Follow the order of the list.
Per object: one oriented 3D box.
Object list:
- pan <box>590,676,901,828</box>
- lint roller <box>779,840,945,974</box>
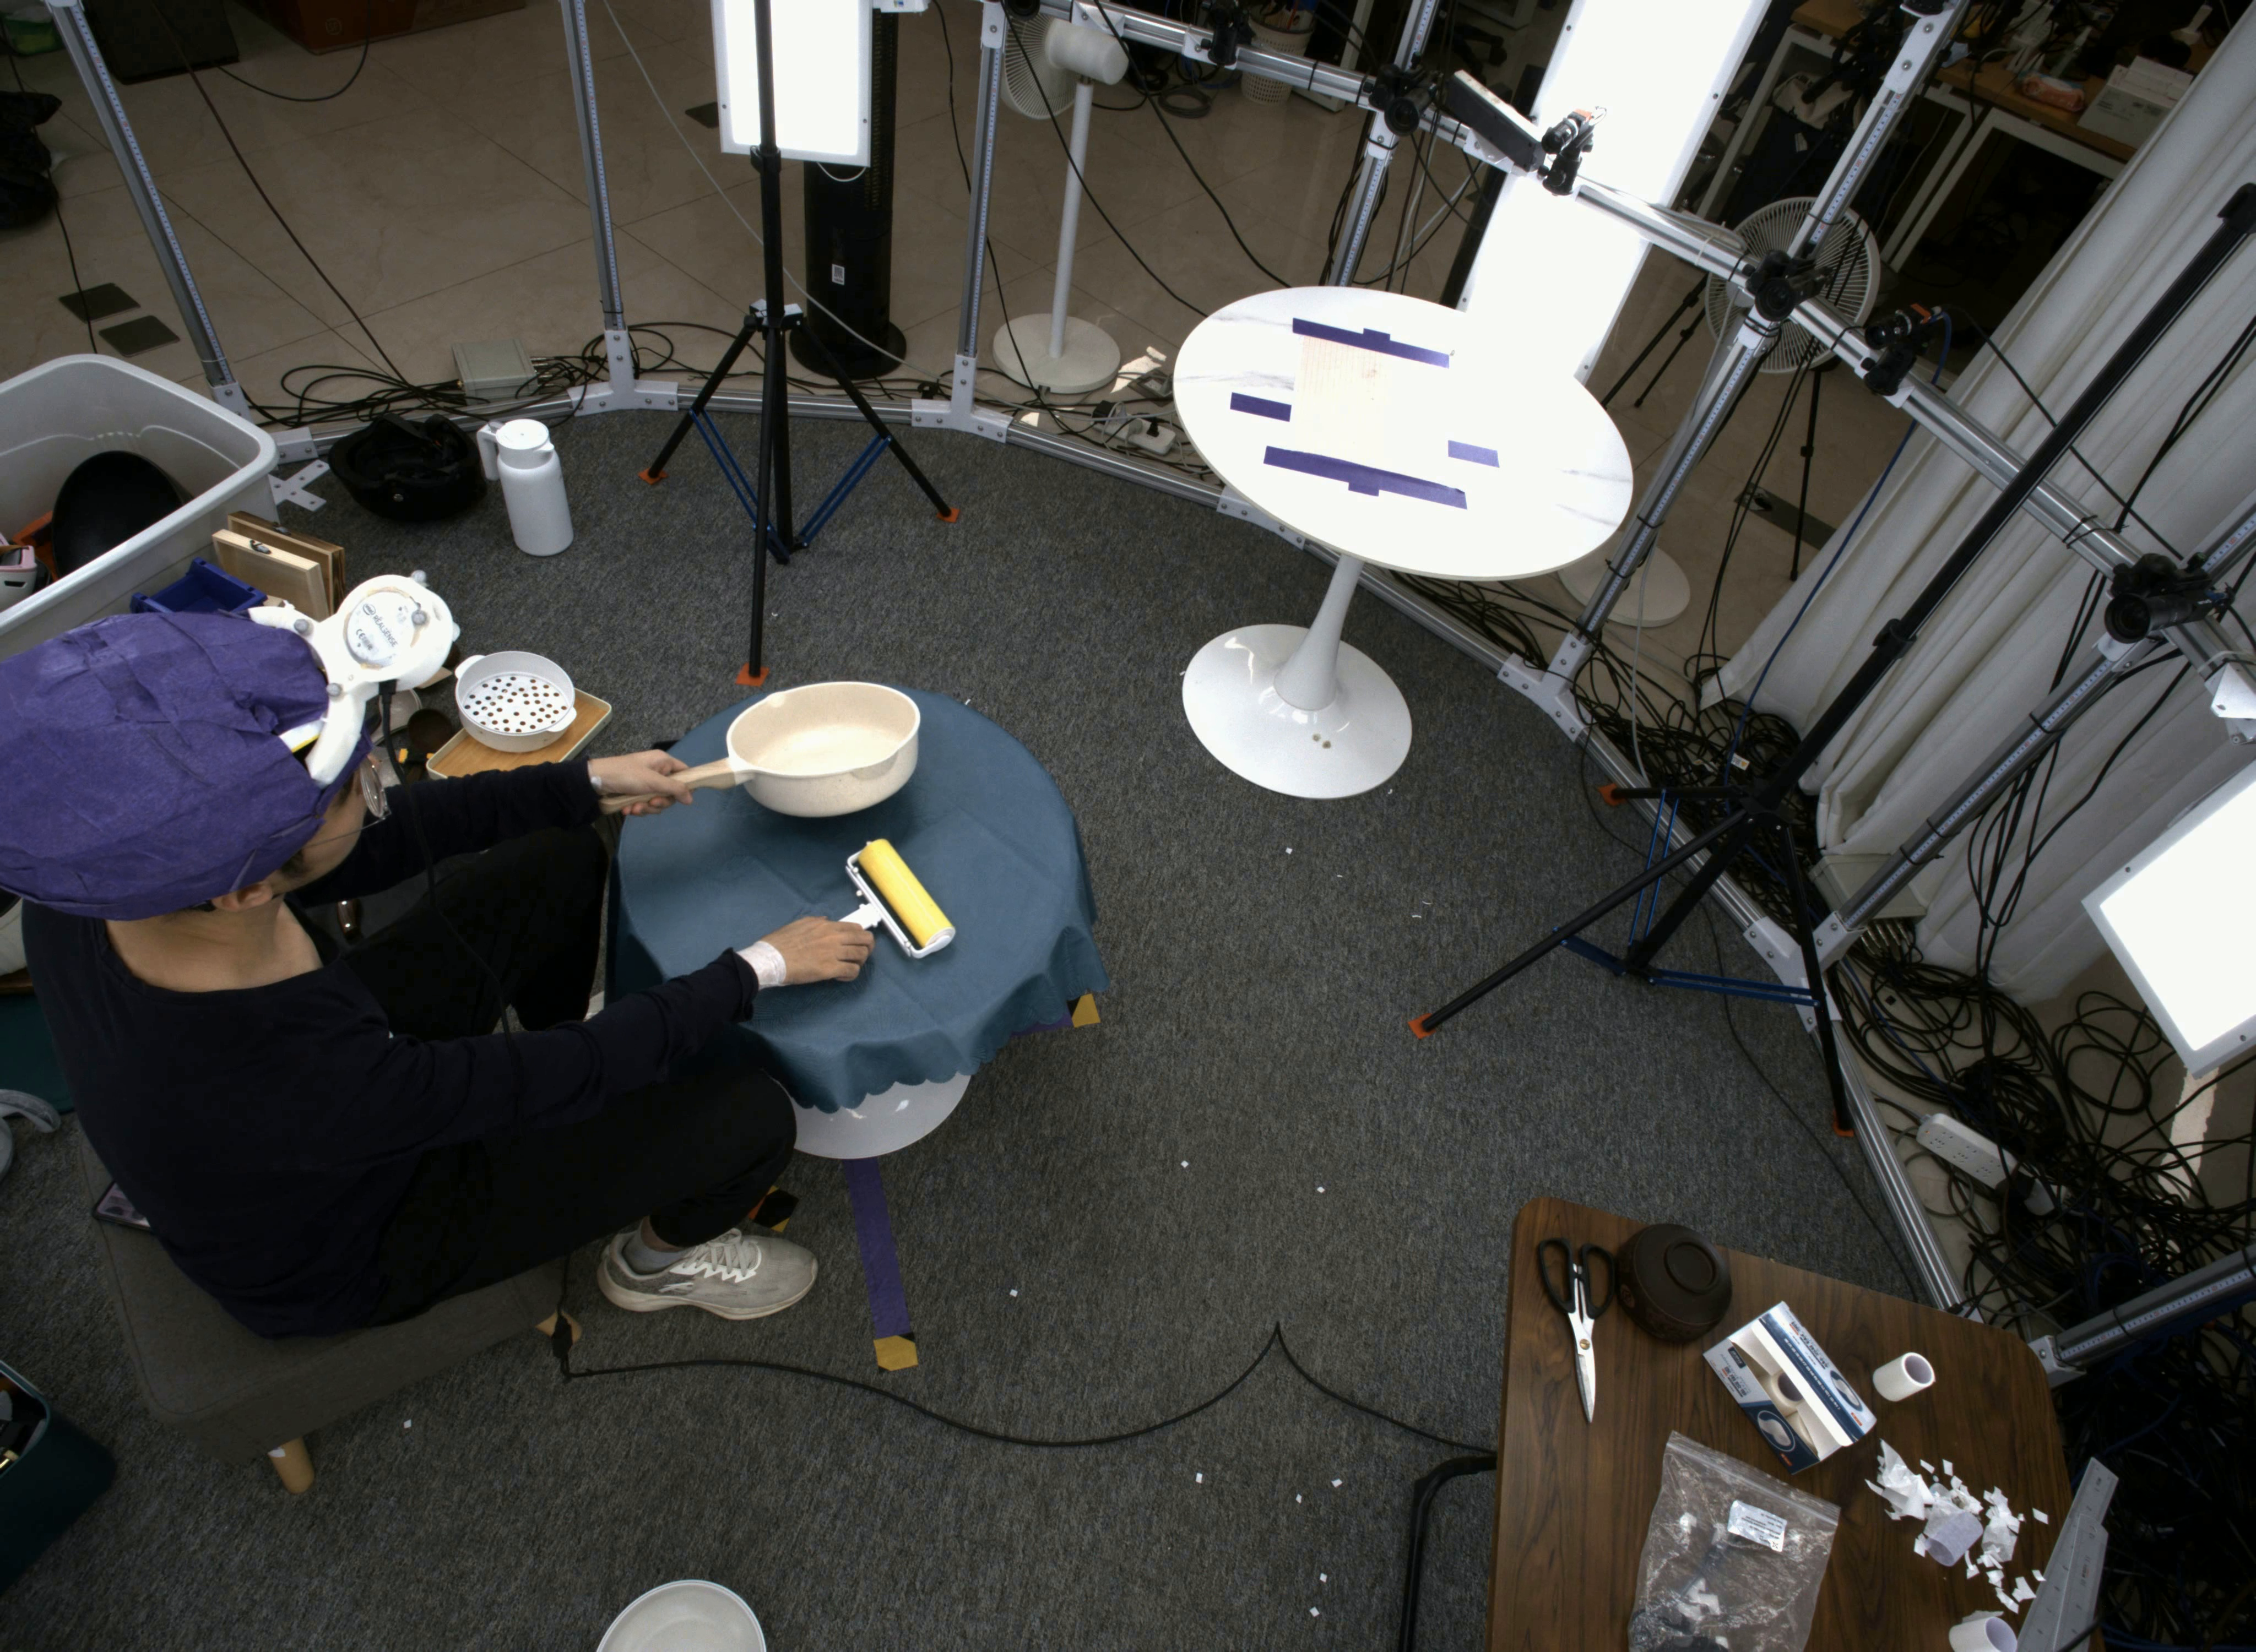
[{"bbox_3d":[-0.487,-0.068,1.661,0.254,0.105,0.437,31,46,34],"label":"pan"},{"bbox_3d":[-0.354,0.120,1.634,0.193,0.052,0.170,-30,65,-30],"label":"lint roller"}]
